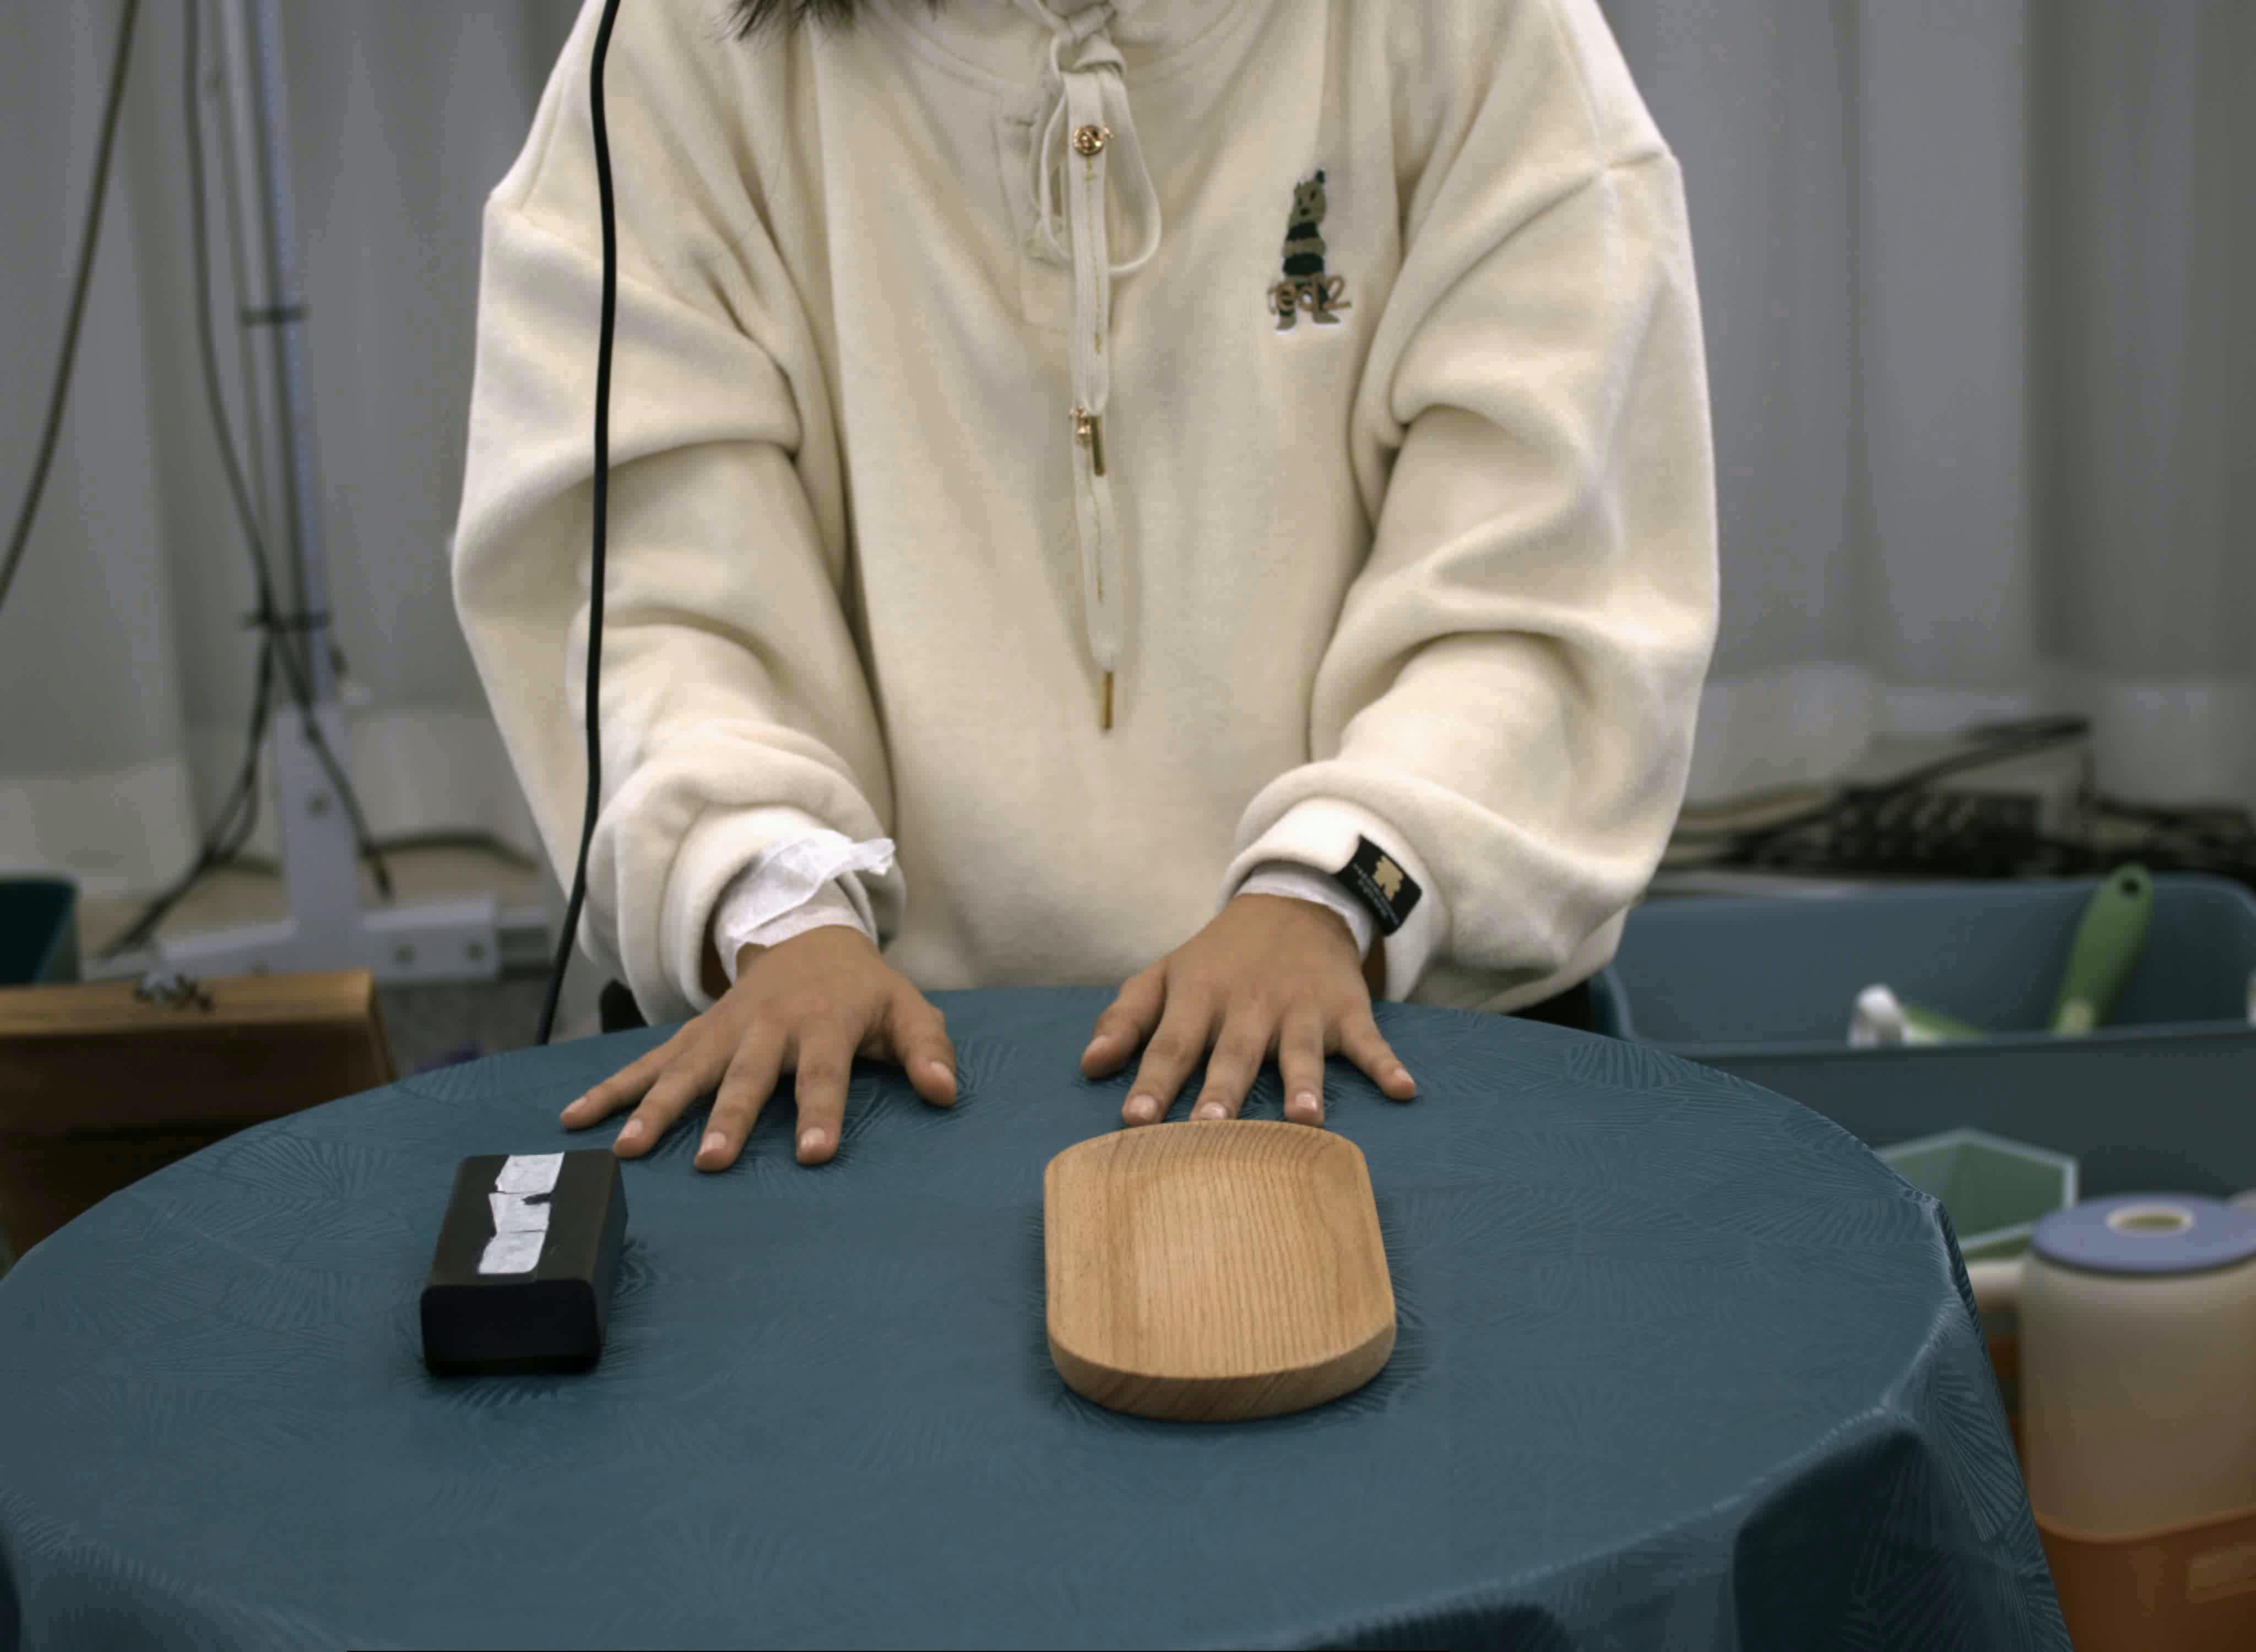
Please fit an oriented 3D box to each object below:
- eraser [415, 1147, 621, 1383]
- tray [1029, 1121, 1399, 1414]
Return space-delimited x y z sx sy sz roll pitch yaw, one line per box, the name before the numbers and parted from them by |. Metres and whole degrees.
eraser | -0.181 0.130 1.634 0.053 0.030 0.126 2 16 -3
tray | 0.024 0.129 1.626 0.101 0.020 0.232 -3 13 -2
